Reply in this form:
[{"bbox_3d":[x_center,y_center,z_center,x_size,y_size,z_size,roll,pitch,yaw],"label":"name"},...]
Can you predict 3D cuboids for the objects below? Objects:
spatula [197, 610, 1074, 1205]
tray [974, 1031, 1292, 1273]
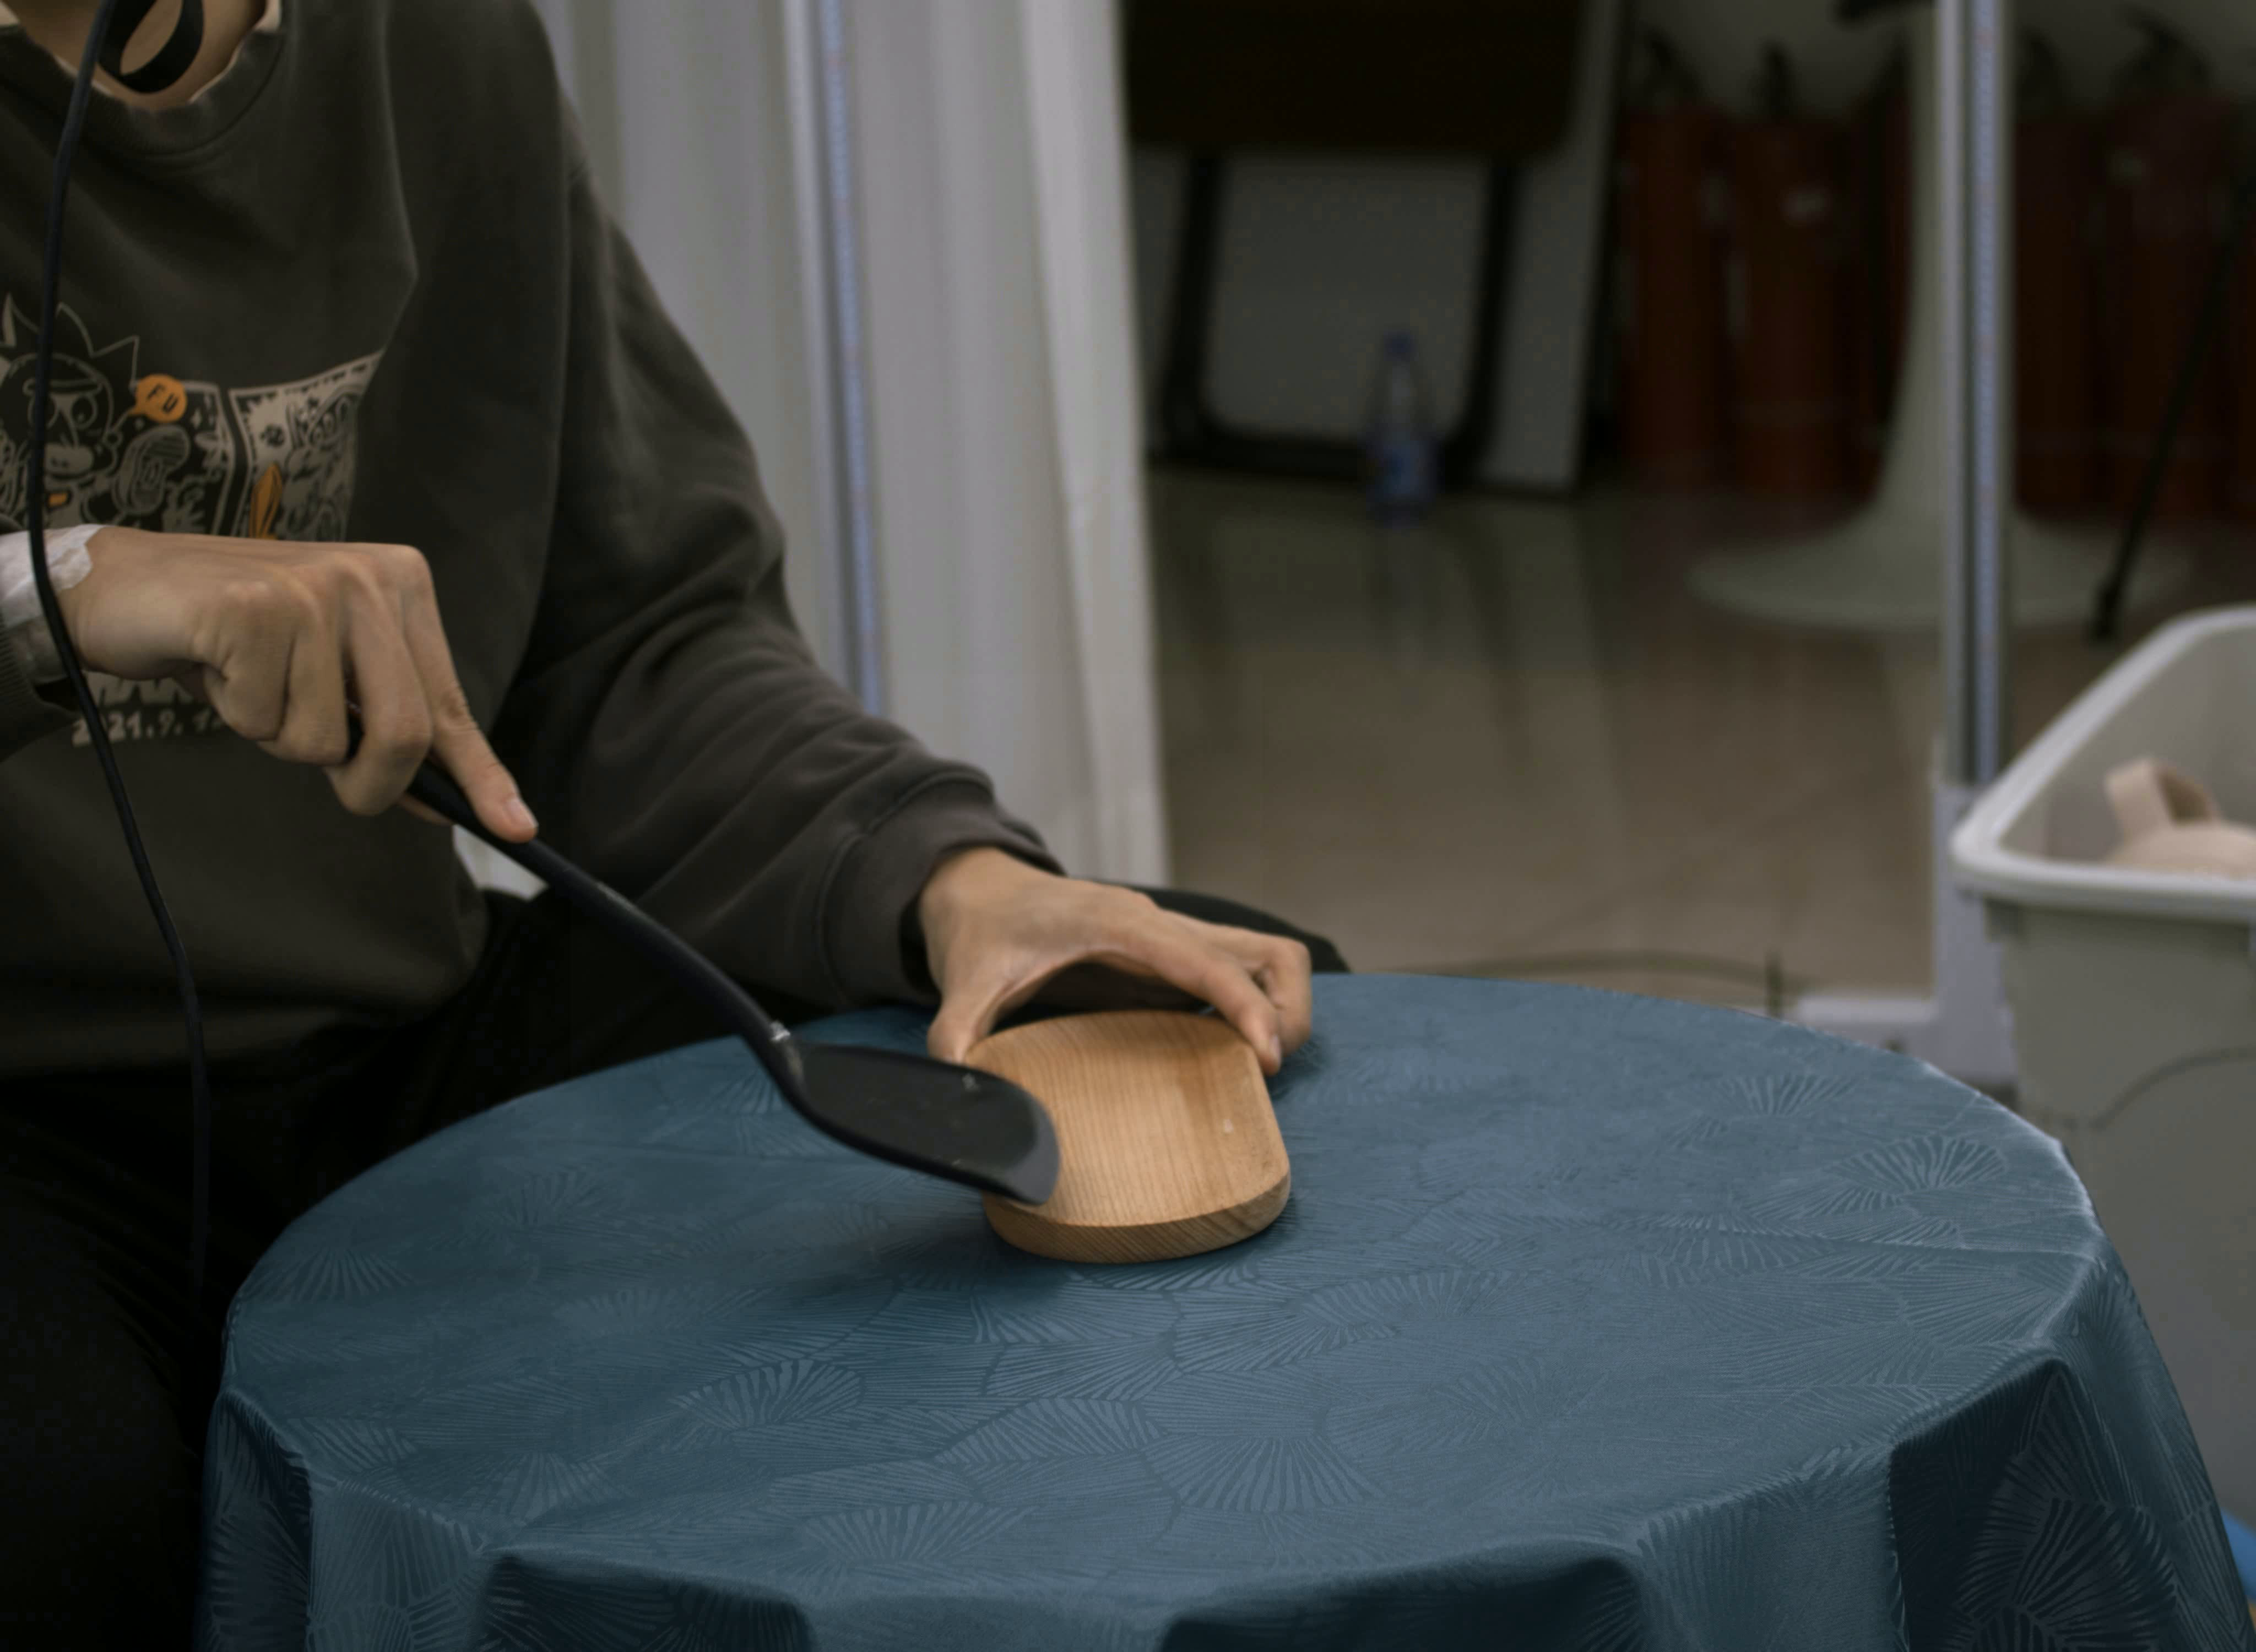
[{"bbox_3d":[-0.154,0.023,1.708,0.324,0.040,0.100,38,12,-9],"label":"spatula"},{"bbox_3d":[-0.001,0.107,1.803,0.100,0.020,0.232,-6,15,-2],"label":"tray"}]
